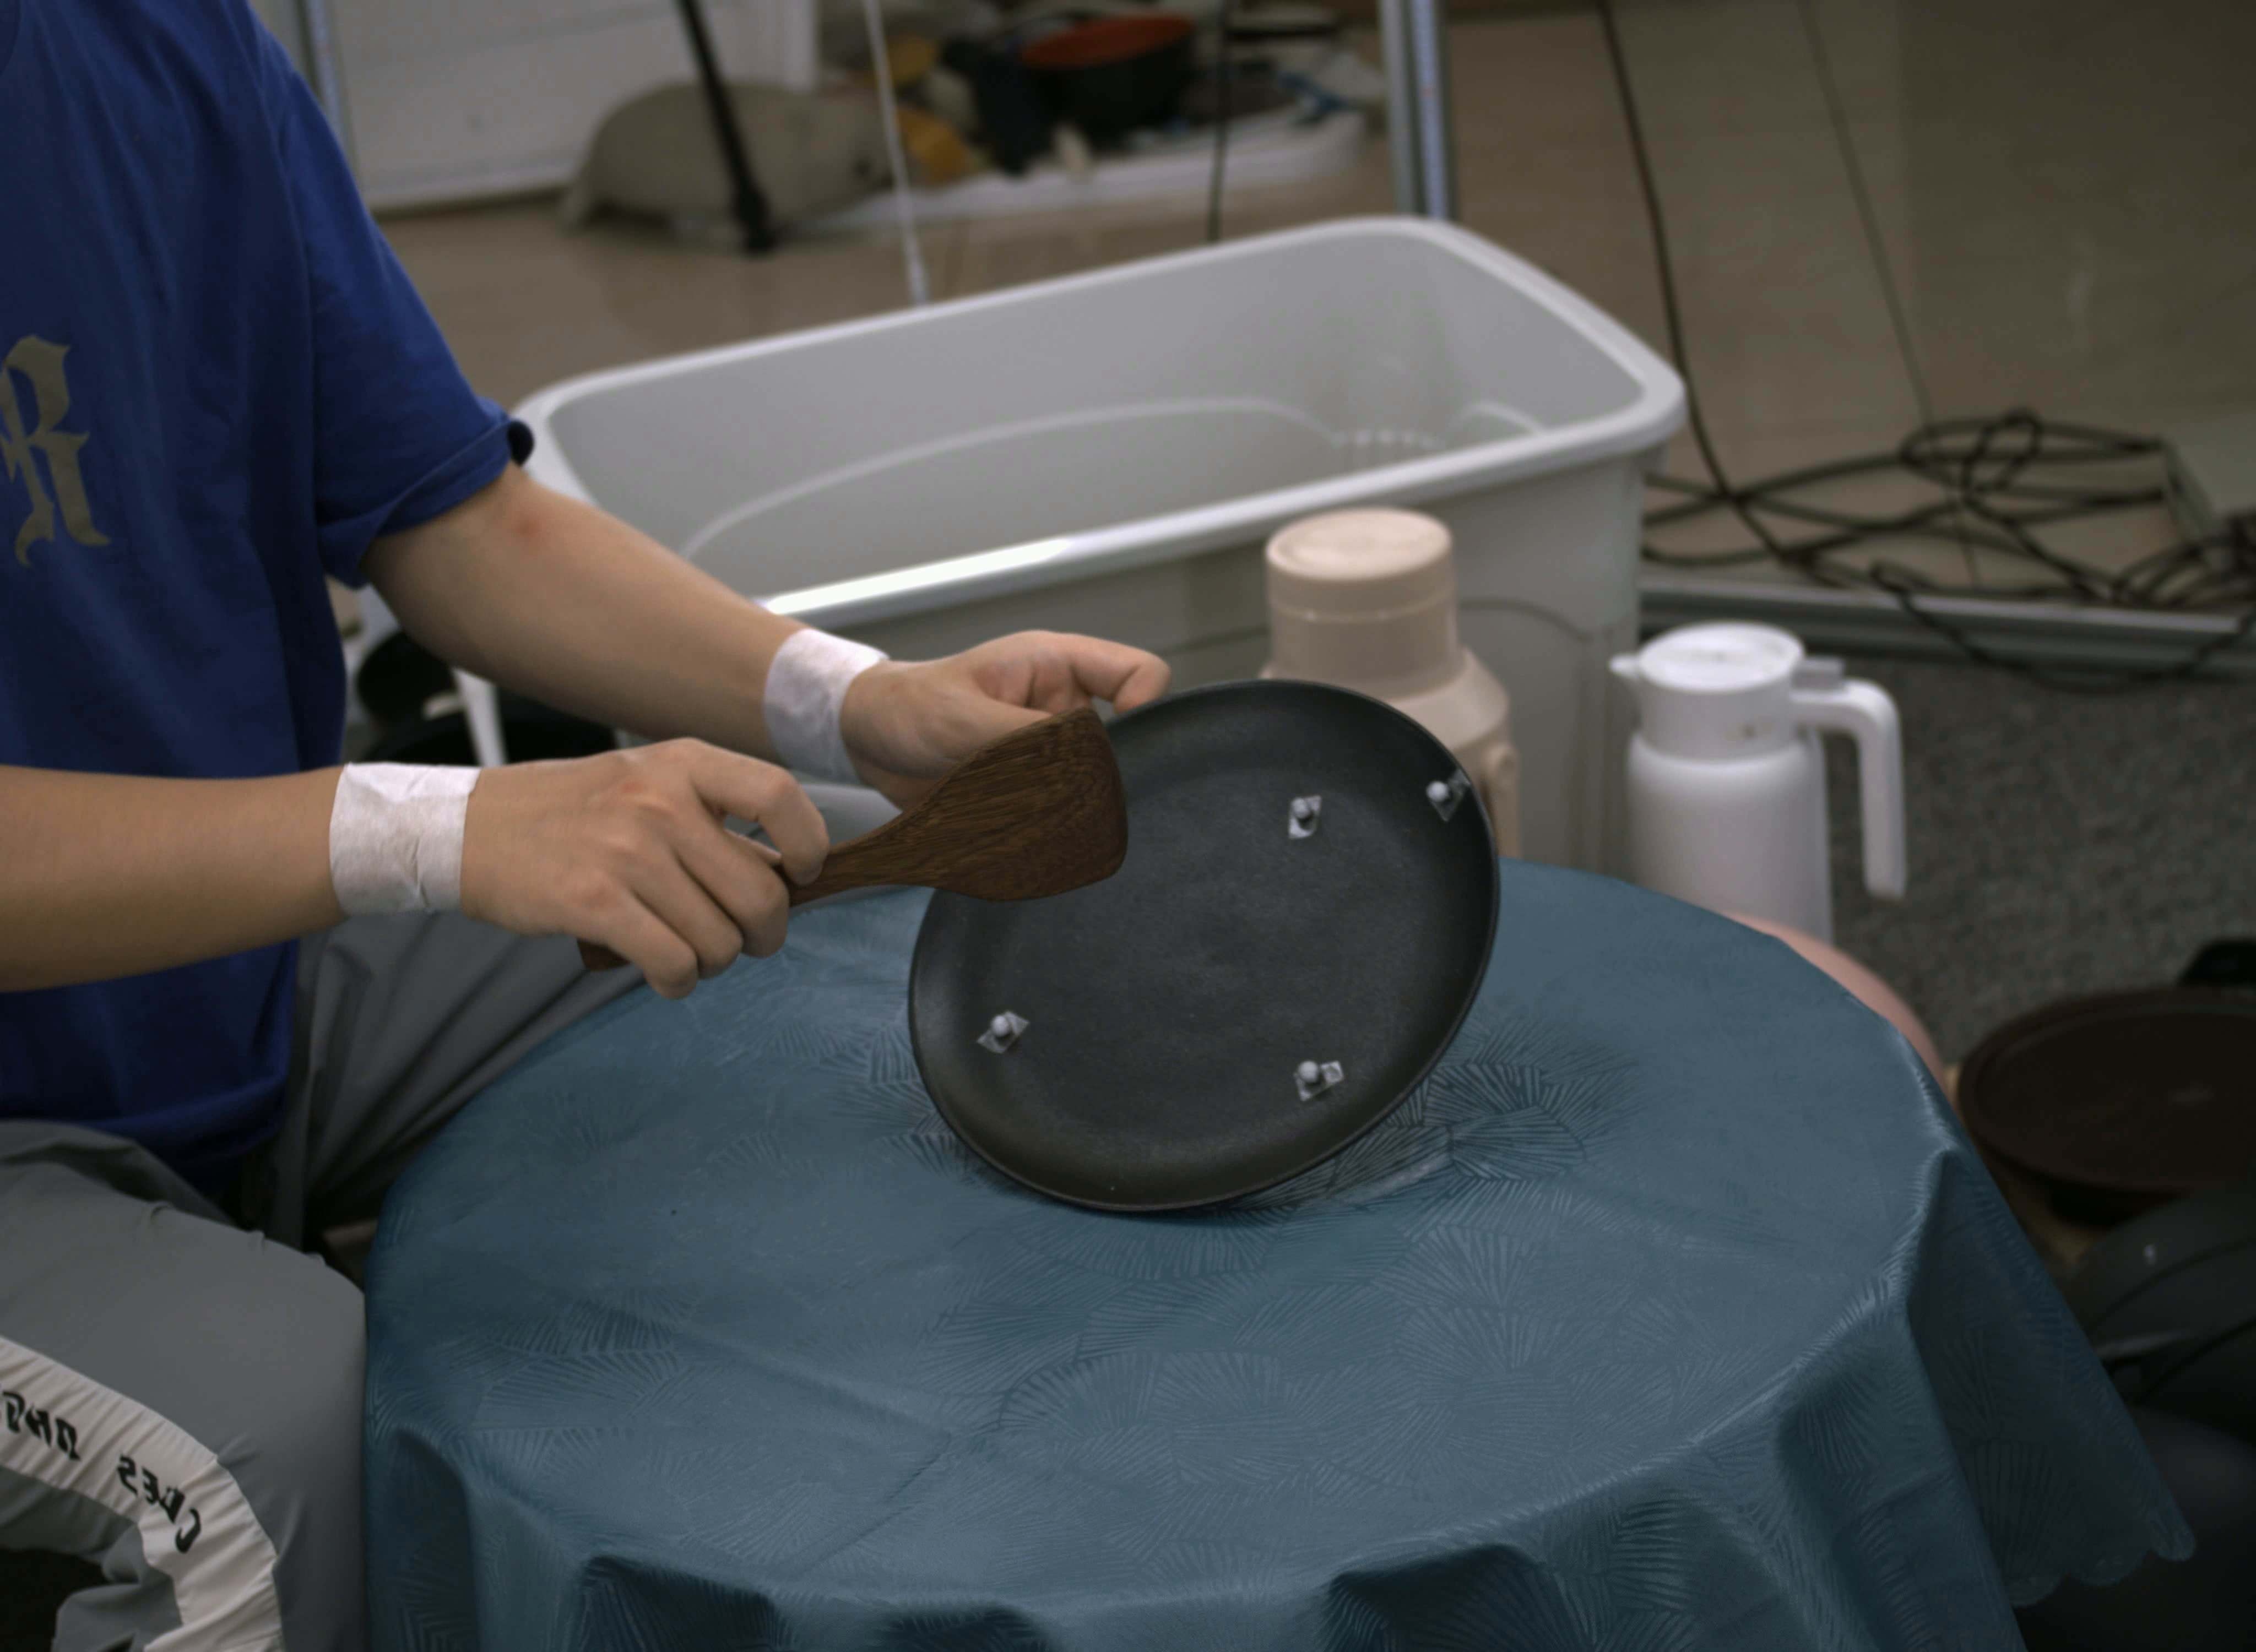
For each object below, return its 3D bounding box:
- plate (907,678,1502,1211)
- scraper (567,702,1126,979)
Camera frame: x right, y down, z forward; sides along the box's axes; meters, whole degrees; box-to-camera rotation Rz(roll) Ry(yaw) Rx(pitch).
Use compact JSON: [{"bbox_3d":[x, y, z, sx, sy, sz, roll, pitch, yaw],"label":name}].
[{"bbox_3d":[0.031,0.048,2.193,0.244,0.024,0.240,-12,54,16],"label":"plate"},{"bbox_3d":[-0.103,0.015,2.079,0.211,0.077,0.010,-17,33,-3],"label":"scraper"}]
